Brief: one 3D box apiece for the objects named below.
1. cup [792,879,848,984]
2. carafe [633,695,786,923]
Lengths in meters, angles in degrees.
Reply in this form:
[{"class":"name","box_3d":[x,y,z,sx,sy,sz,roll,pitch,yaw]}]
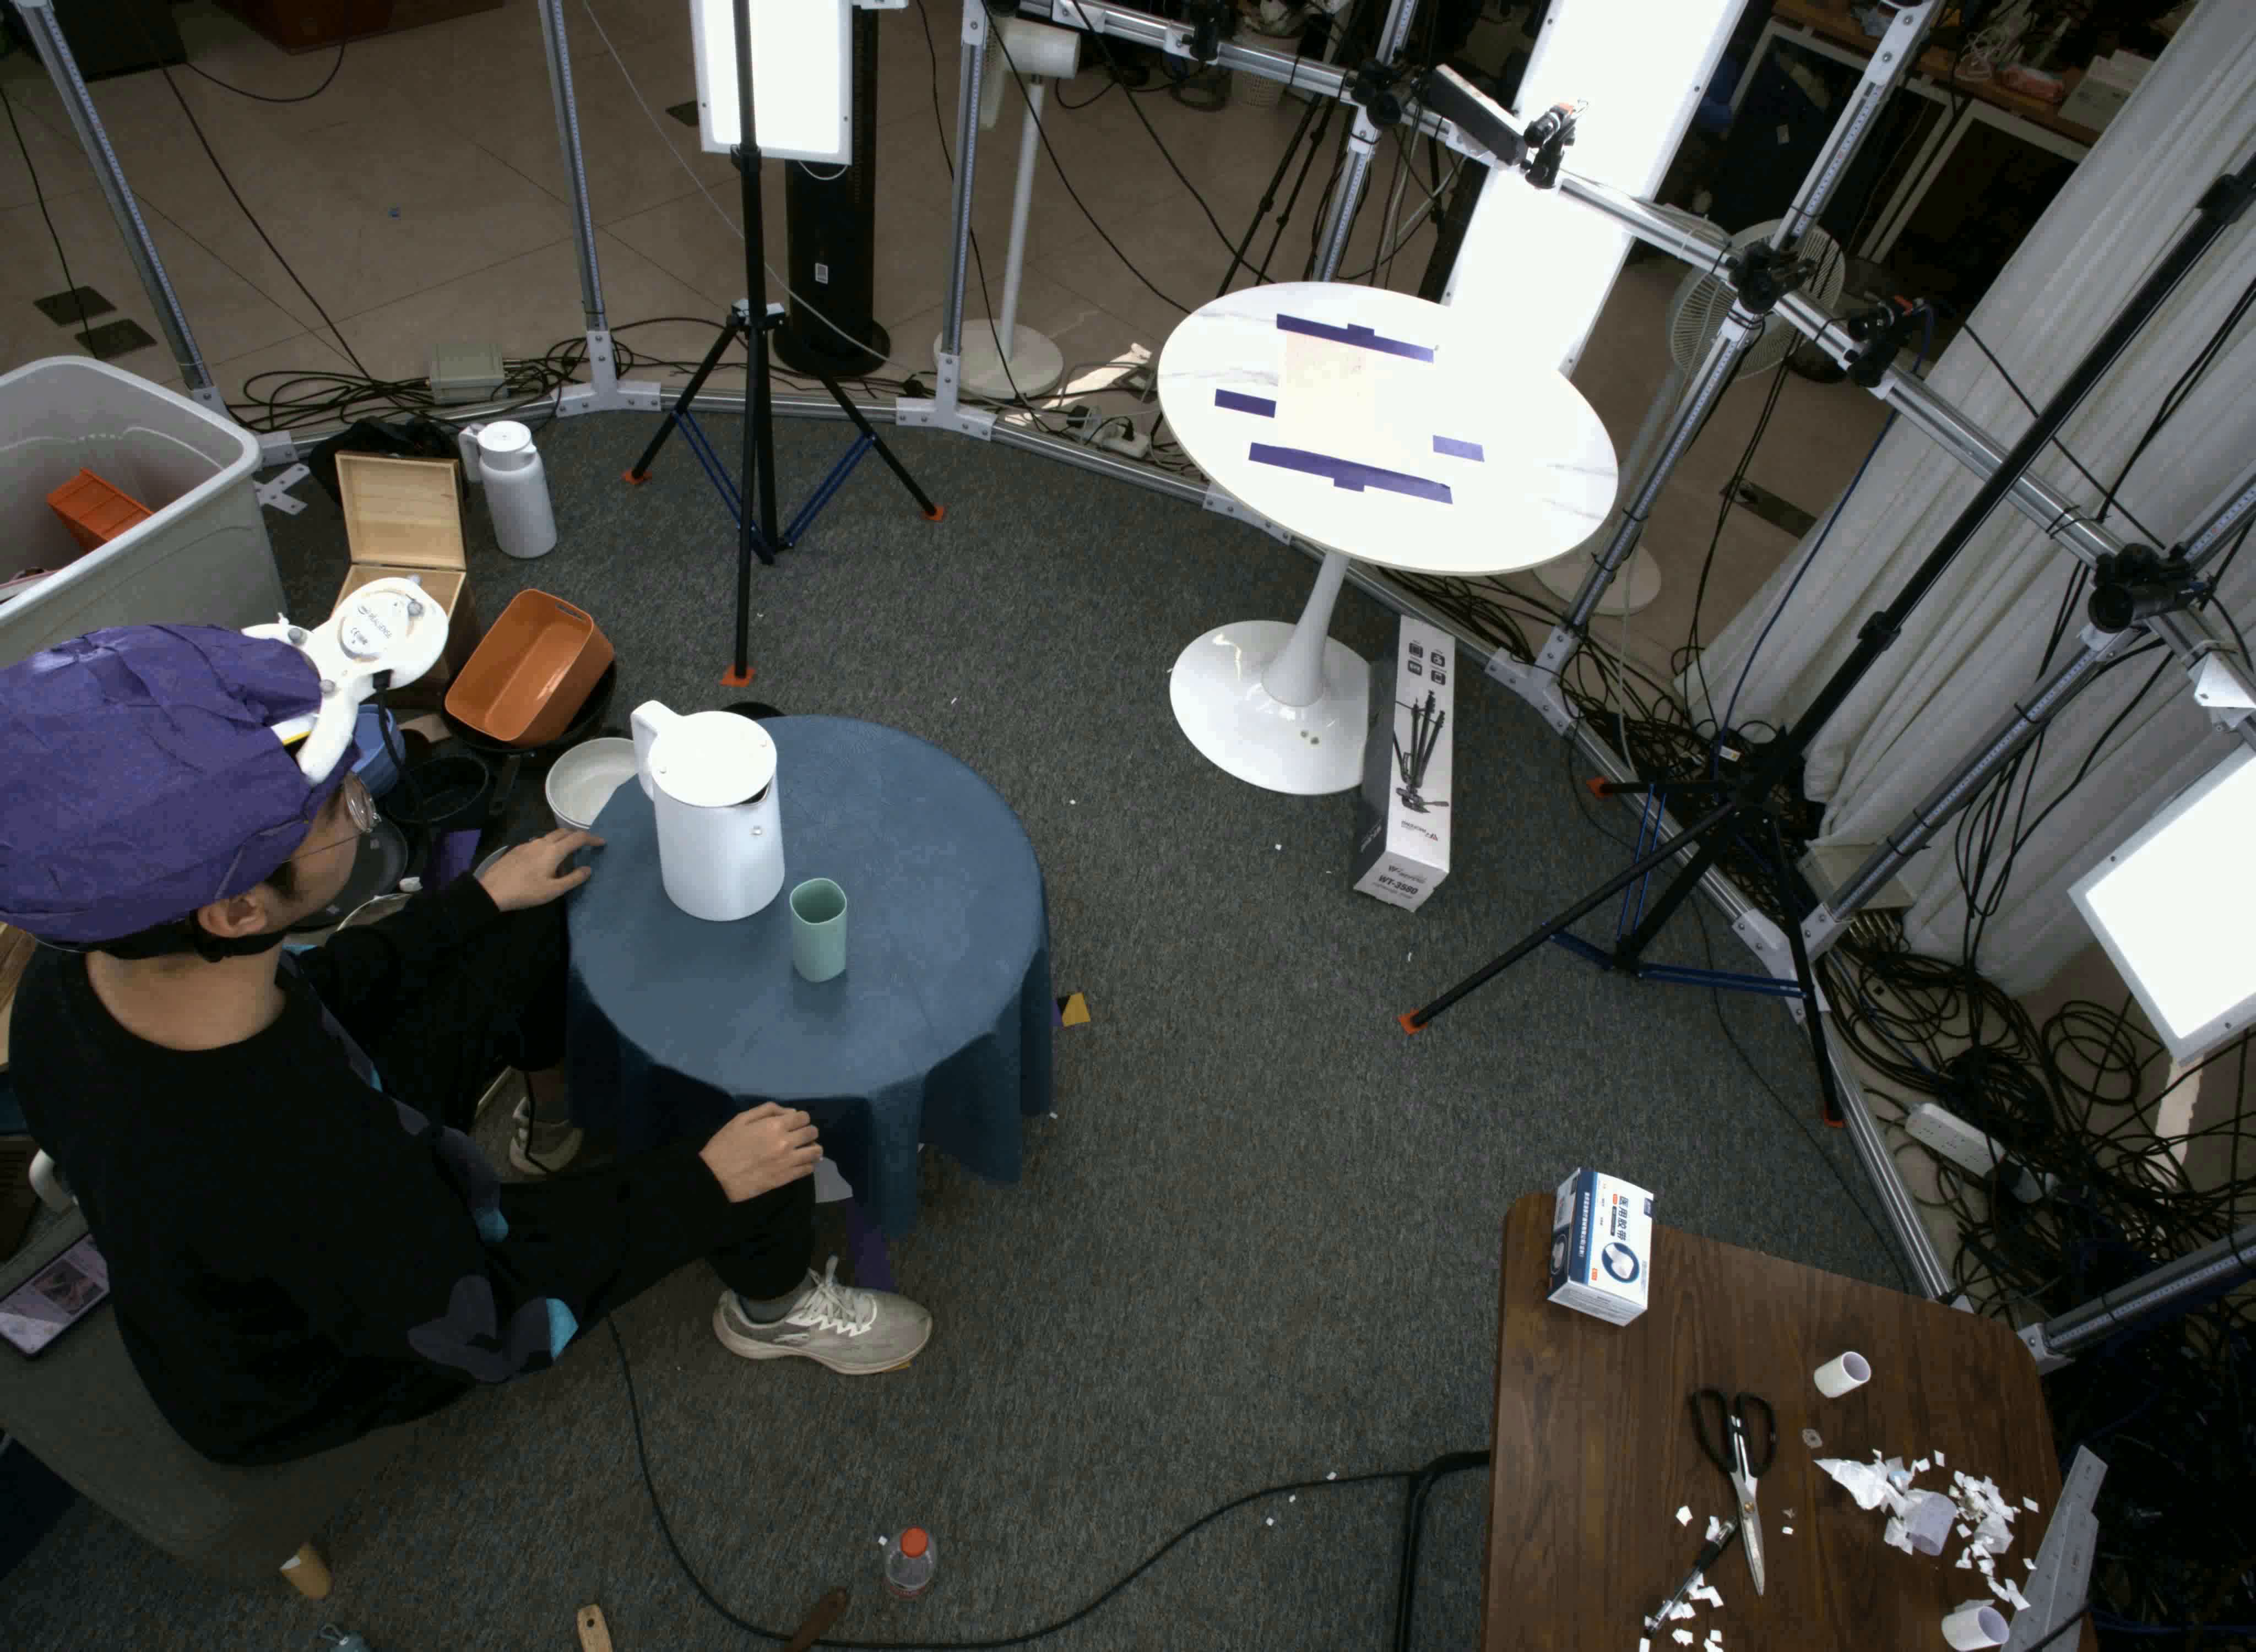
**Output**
[{"class":"cup","box_3d":[-0.374,0.127,1.569,0.066,0.135,0.065,7,51,-8]},{"class":"carafe","box_3d":[-0.518,-0.029,1.576,0.209,0.245,0.152,36,53,14]}]
